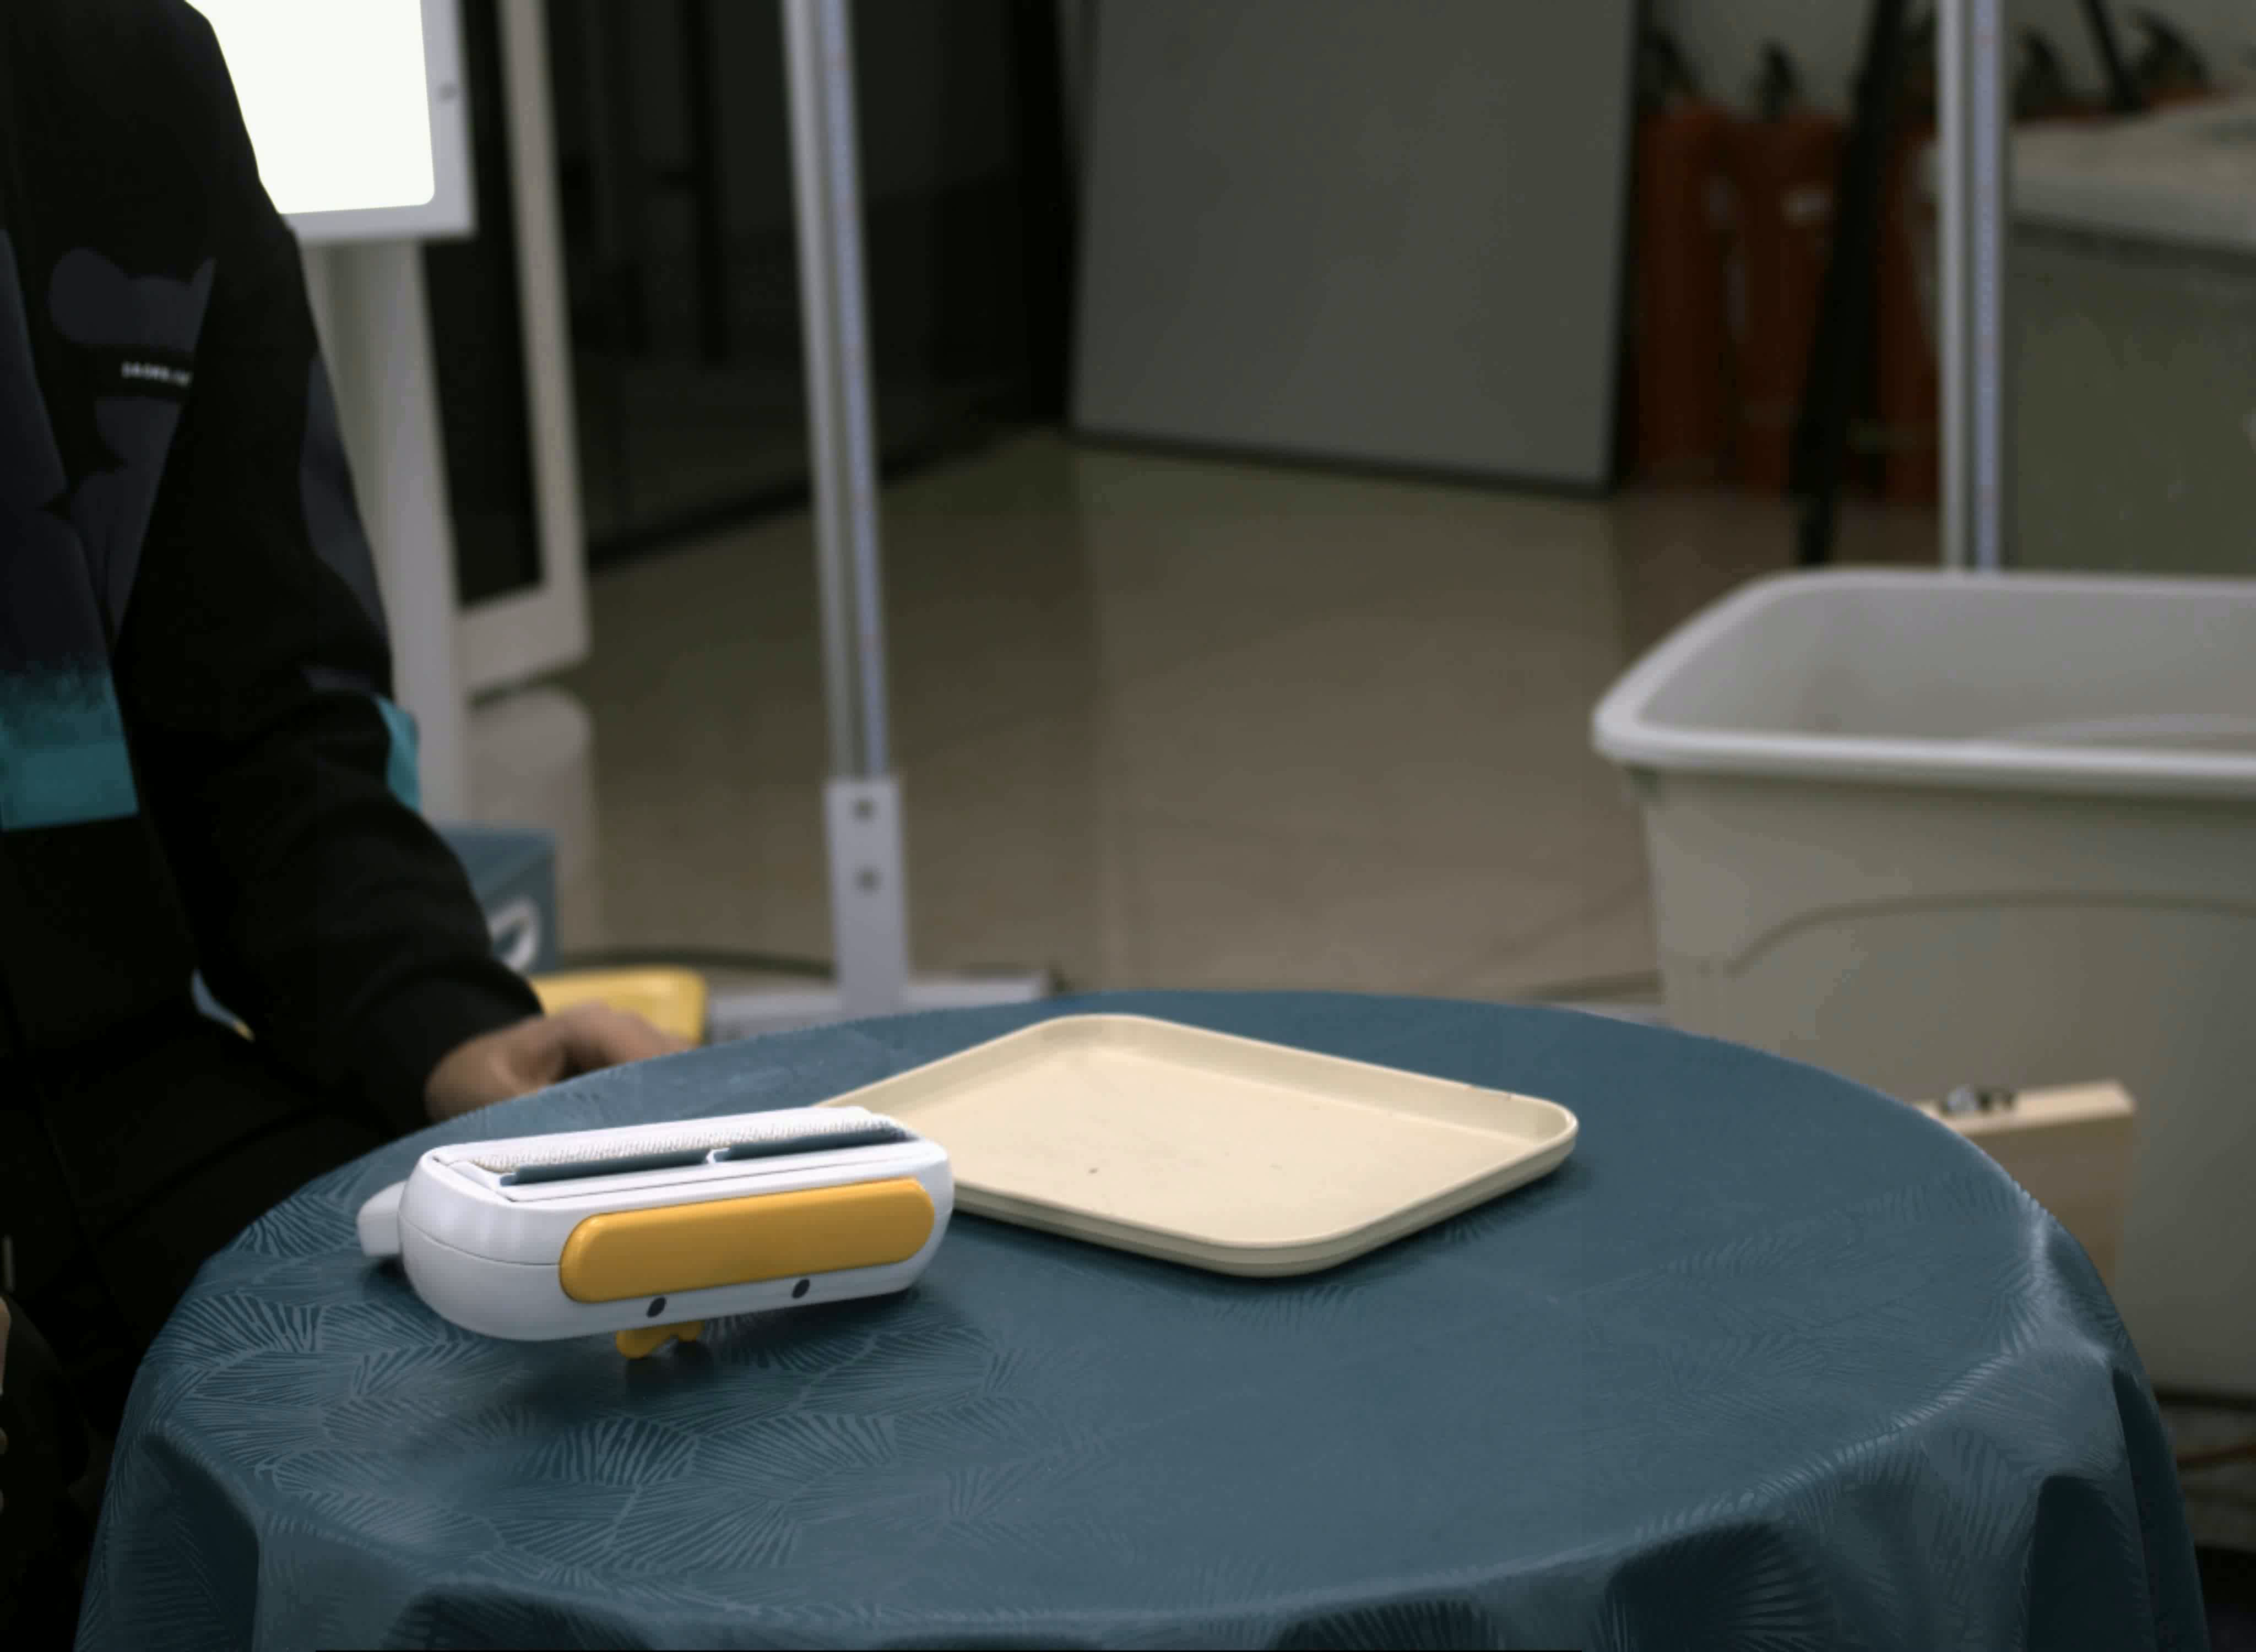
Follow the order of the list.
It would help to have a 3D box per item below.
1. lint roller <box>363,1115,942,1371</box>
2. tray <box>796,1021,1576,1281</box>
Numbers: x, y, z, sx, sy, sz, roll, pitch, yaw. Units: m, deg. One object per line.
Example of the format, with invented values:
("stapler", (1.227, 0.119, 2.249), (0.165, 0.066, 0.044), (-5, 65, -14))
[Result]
("lint roller", (-0.177, 0.121, 1.684), (0.188, 0.075, 0.194), (-8, 12, -38))
("tray", (0.018, 0.107, 1.788), (0.242, 0.017, 0.168), (9, 20, 43))
